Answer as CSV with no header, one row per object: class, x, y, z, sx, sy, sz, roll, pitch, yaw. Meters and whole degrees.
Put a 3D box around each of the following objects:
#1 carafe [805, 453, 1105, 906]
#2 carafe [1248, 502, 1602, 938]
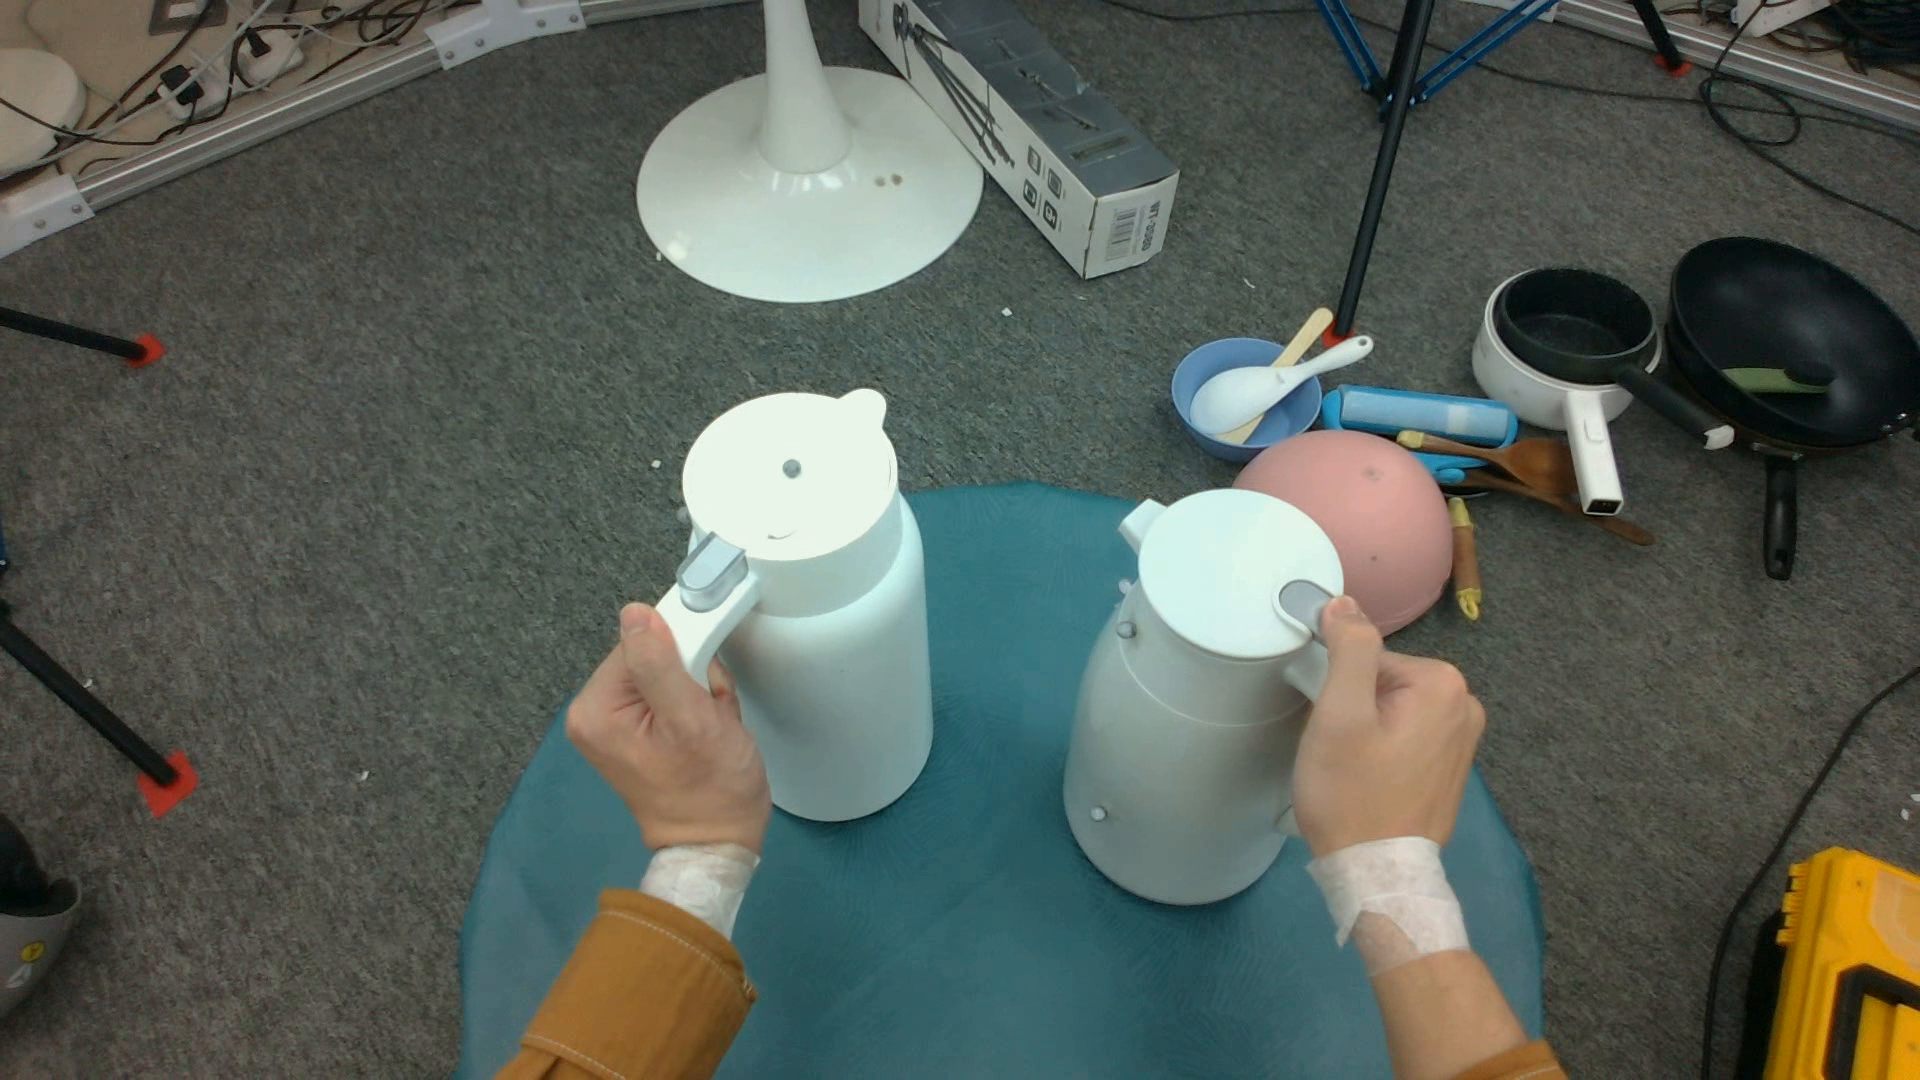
carafe,0.001,0.101,0.722,0.124,0.268,0.173,18,58,23
carafe,0.225,0.096,0.679,0.168,0.247,0.133,30,64,30
